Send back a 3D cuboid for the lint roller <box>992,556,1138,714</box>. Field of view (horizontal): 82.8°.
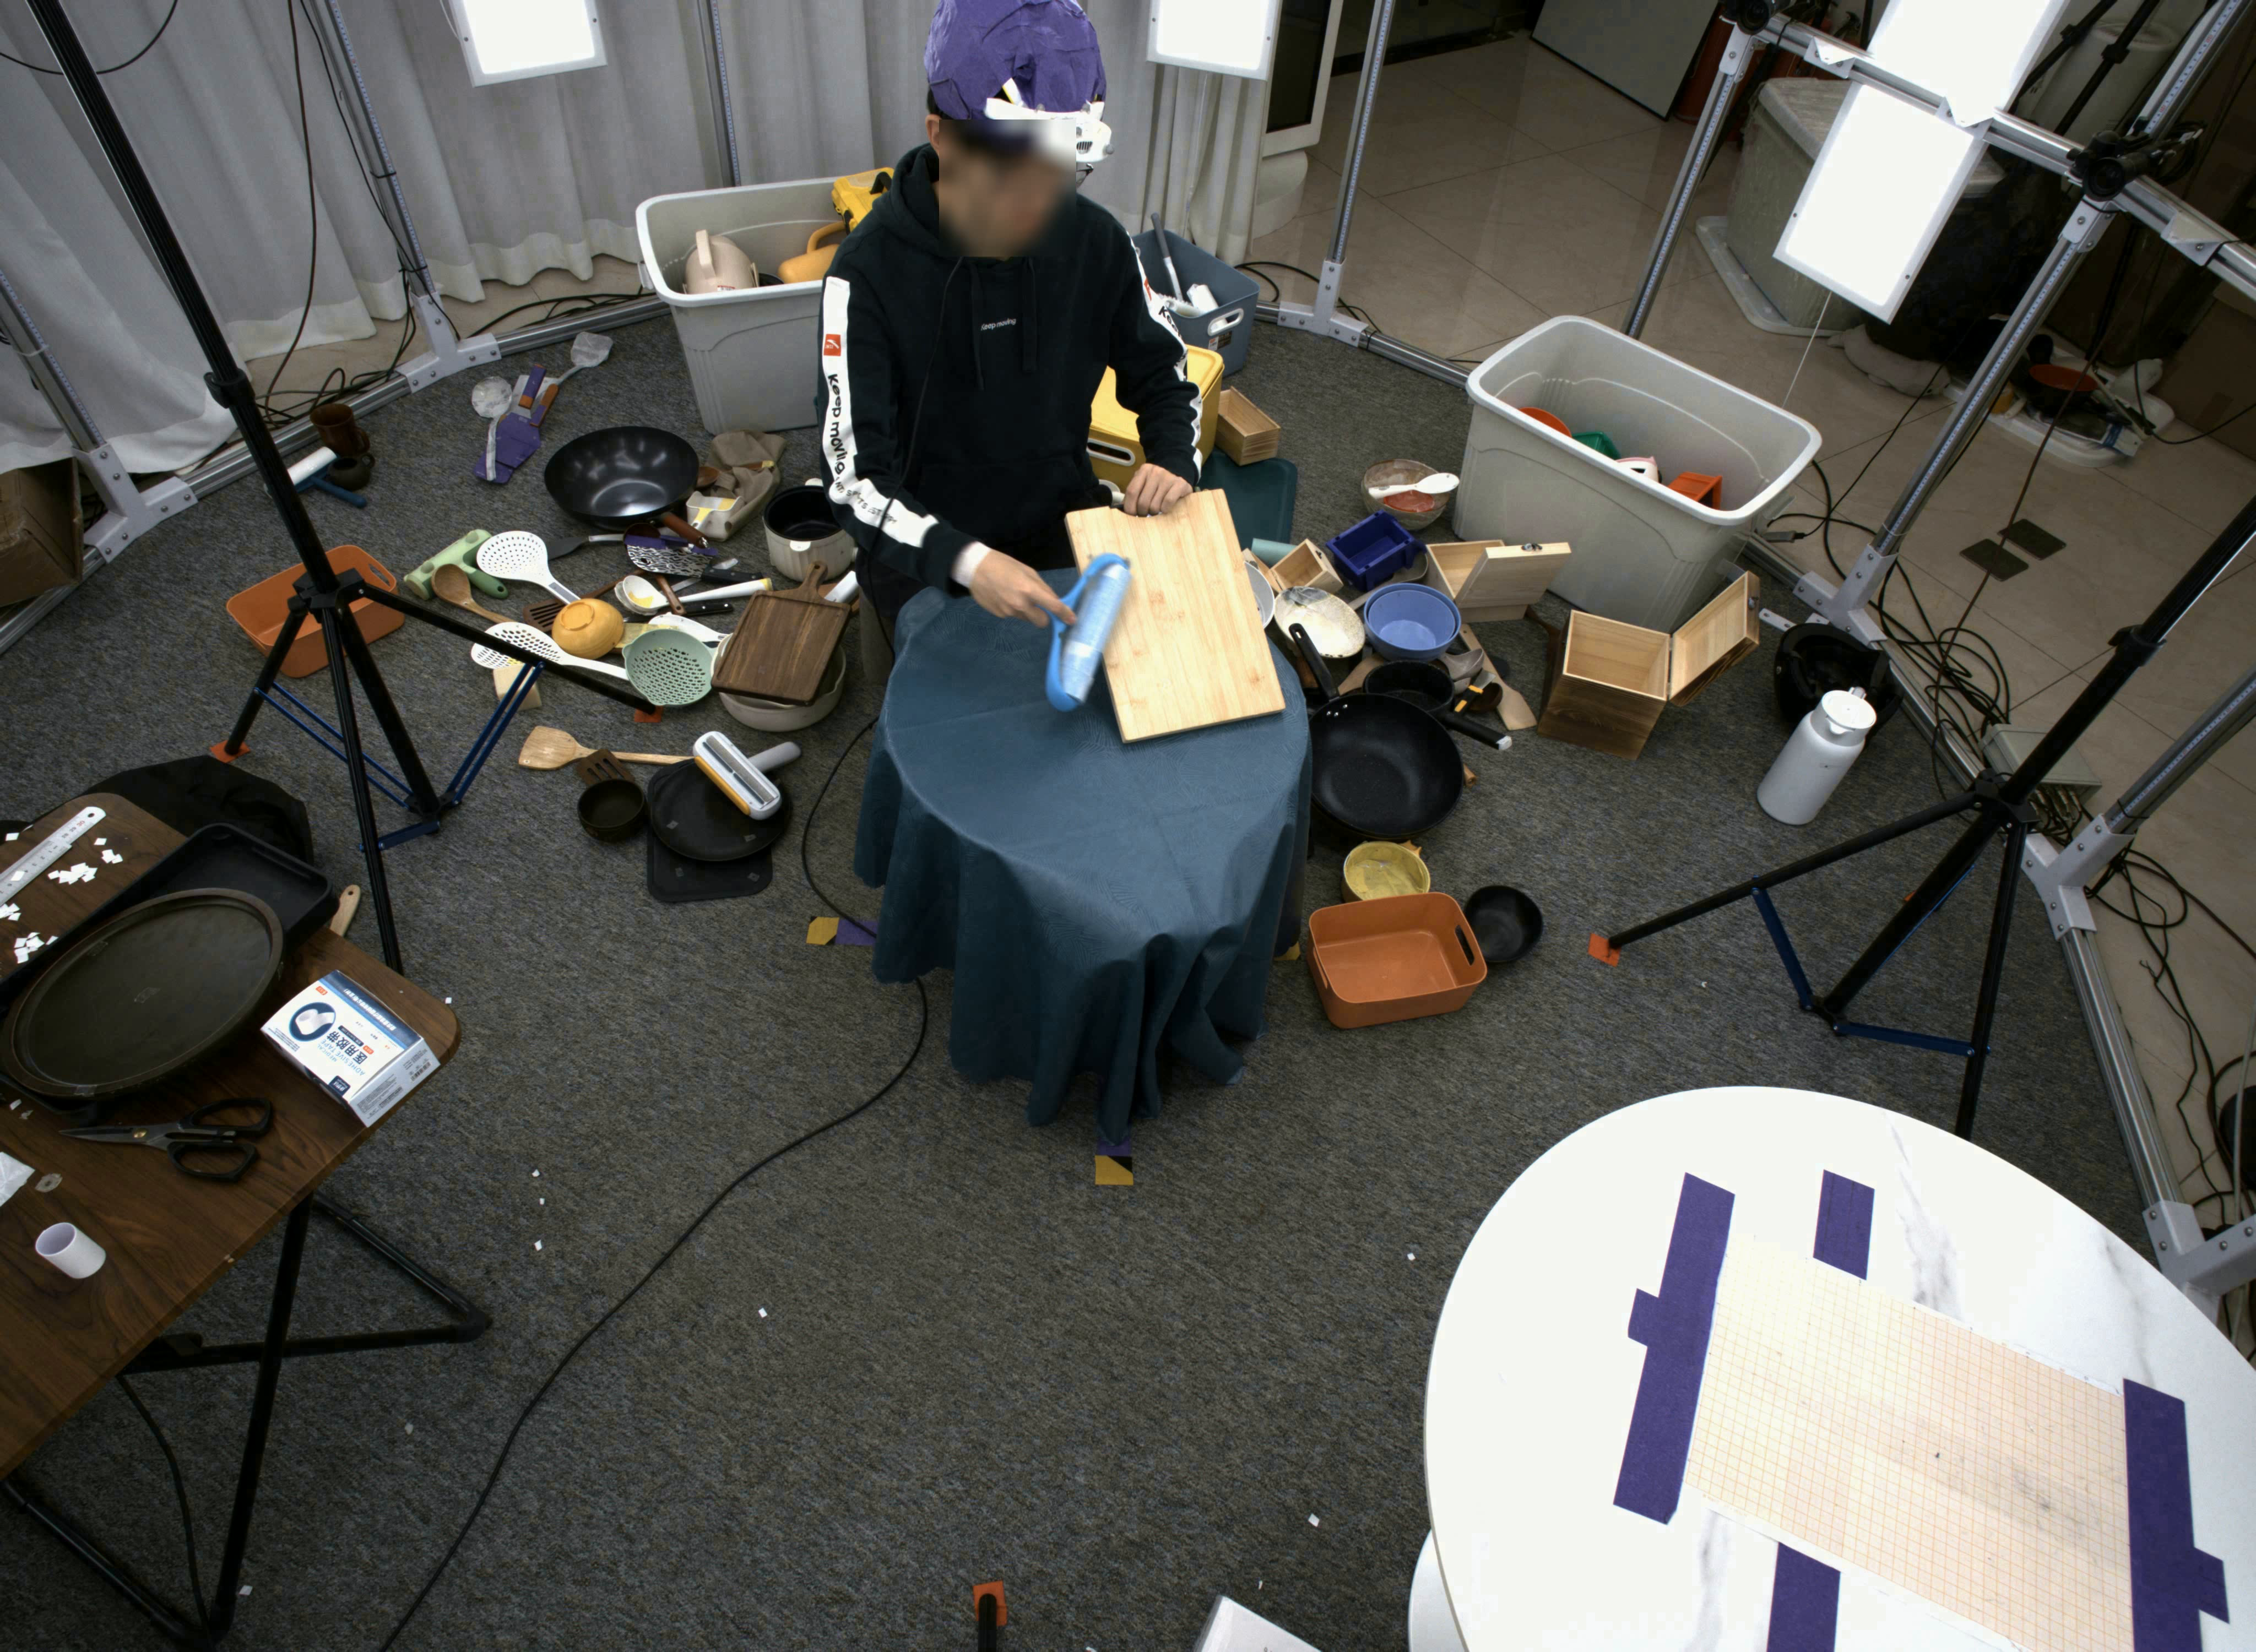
[{"bbox_3d":[-0.094,-0.280,1.733,0.178,0.068,0.230,22,81,-19],"label":"lint roller"}]

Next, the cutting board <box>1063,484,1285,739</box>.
[{"bbox_3d":[0.065,-0.306,1.823,0.251,0.023,0.352,-13,79,-14],"label":"cutting board"}]
